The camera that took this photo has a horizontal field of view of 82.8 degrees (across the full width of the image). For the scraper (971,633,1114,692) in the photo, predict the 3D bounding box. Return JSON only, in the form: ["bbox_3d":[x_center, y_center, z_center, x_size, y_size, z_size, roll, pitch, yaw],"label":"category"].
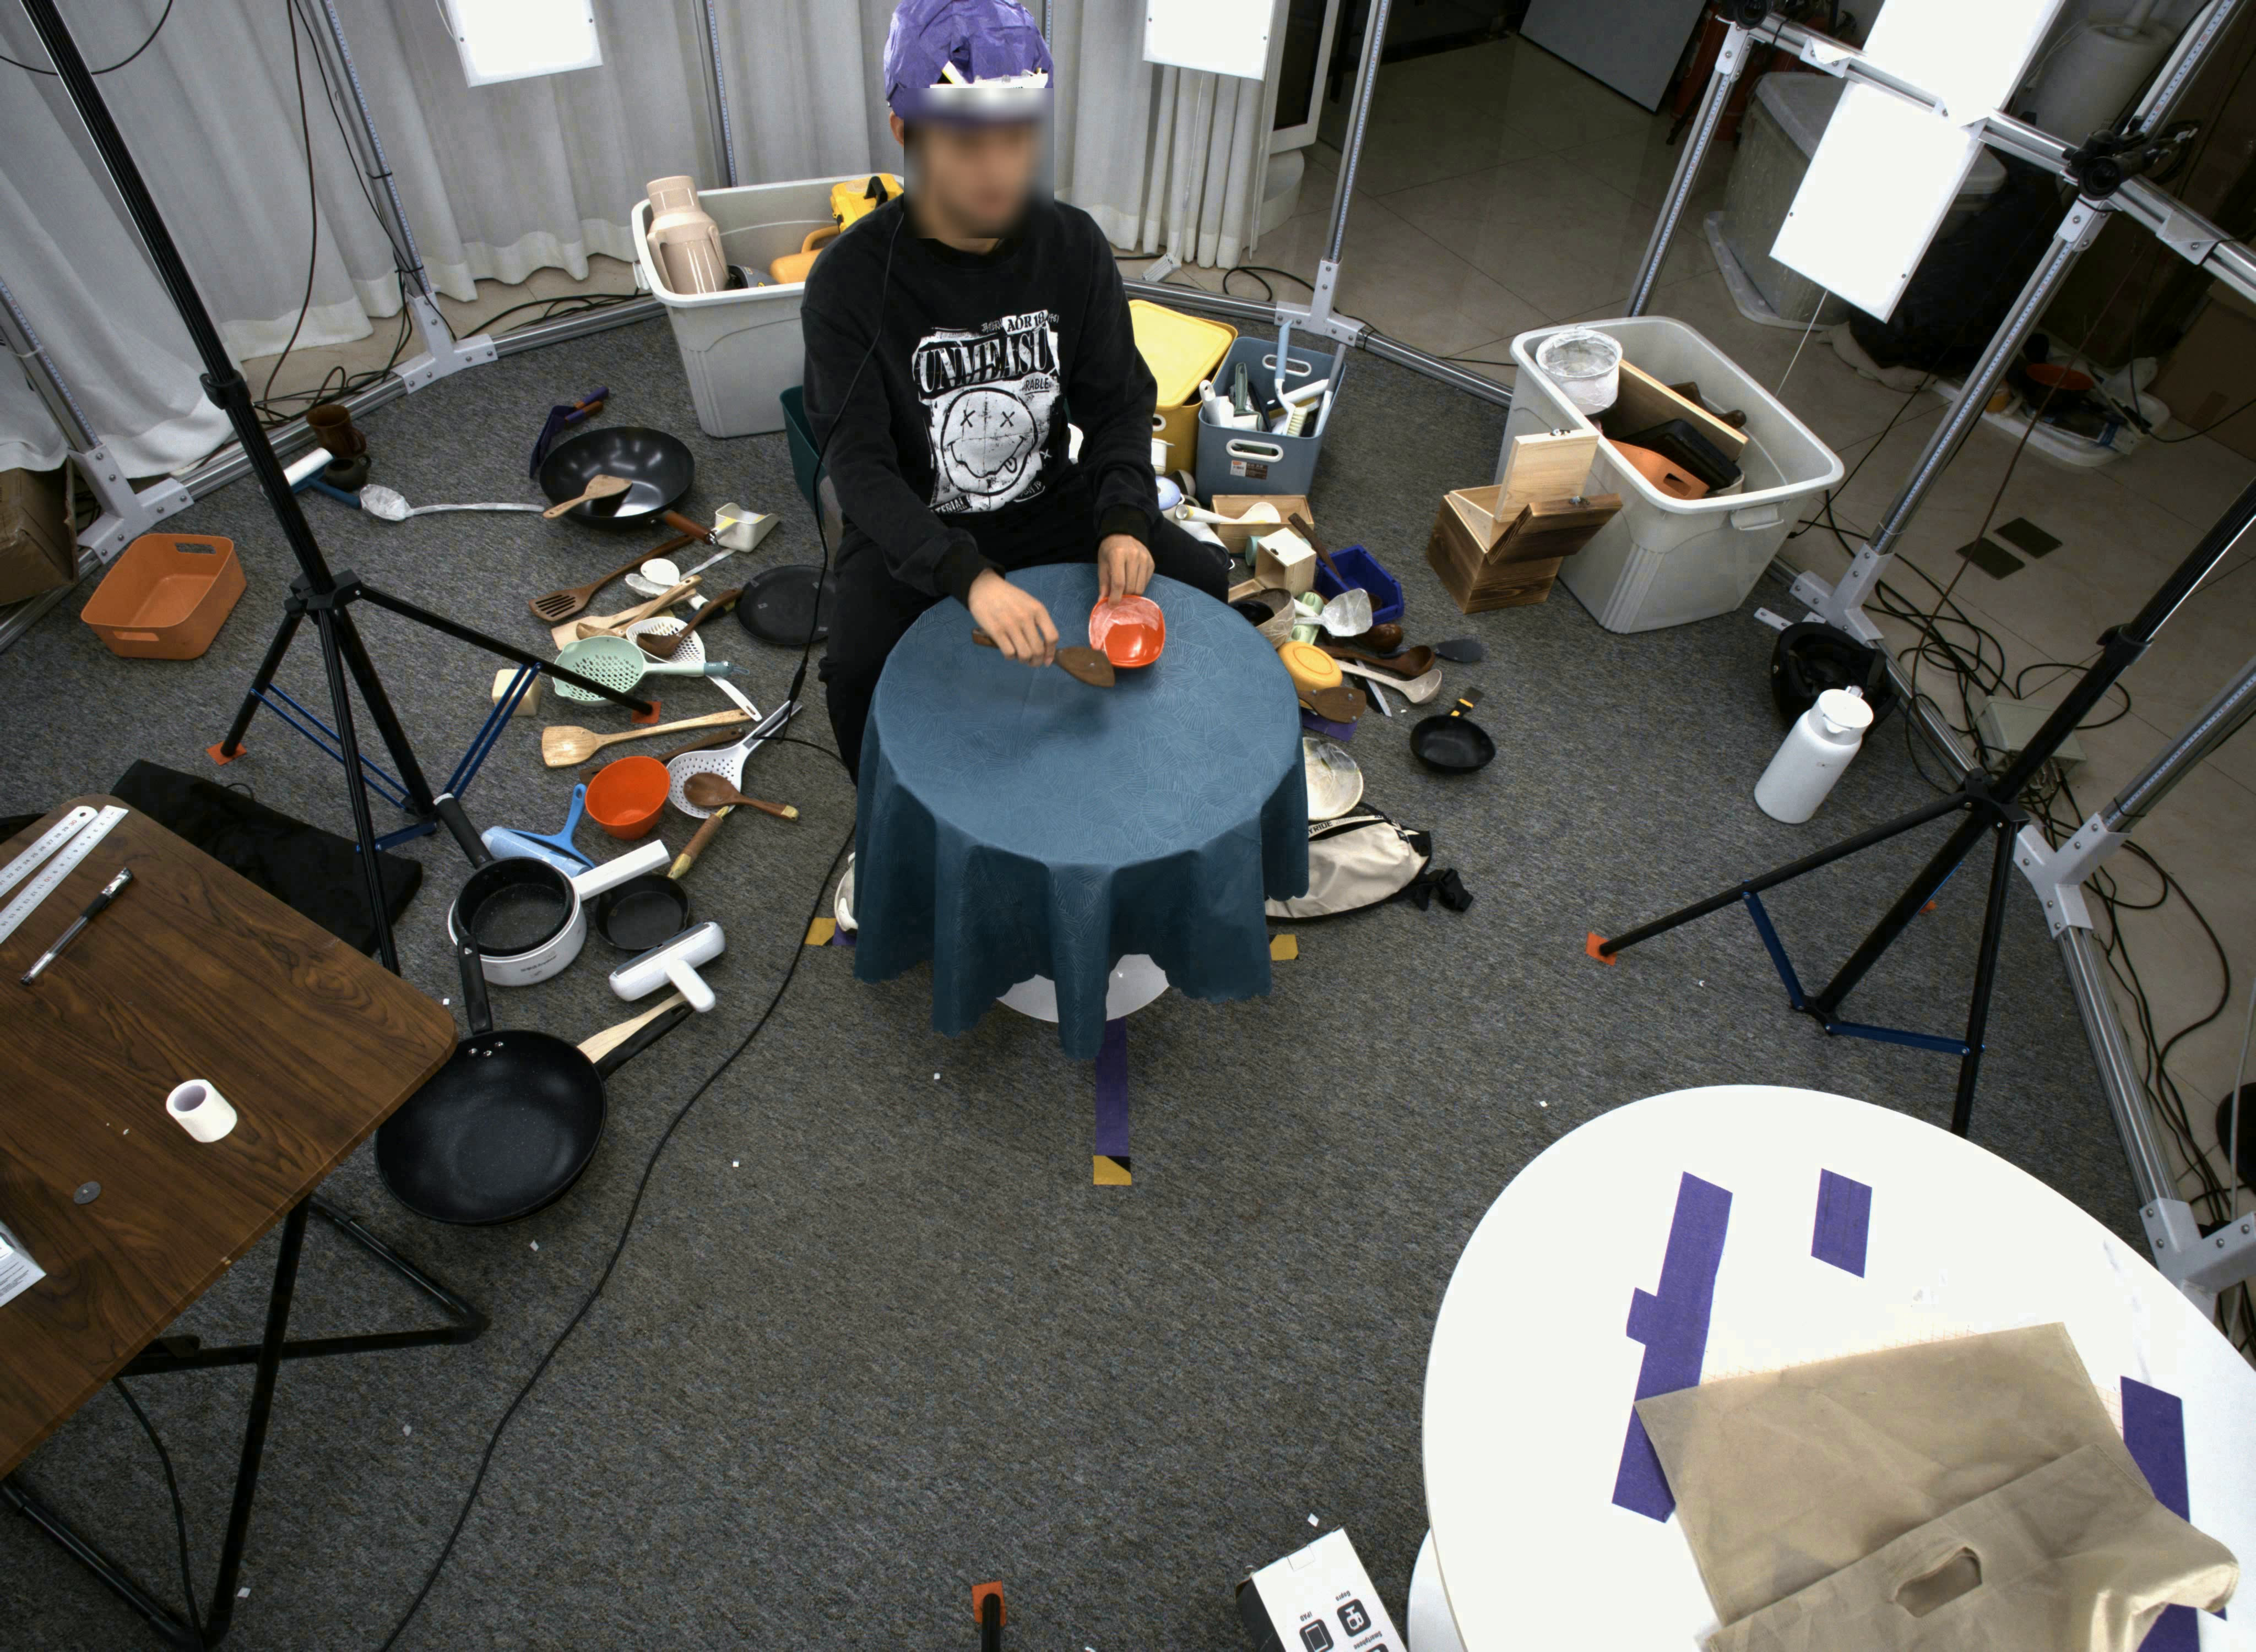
[{"bbox_3d":[-0.116,-0.230,1.756,0.209,0.010,0.078,12,43,-25],"label":"scraper"}]

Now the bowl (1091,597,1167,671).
[{"bbox_3d":[-0.001,-0.273,1.875,0.119,0.051,0.120,1,75,-6],"label":"bowl"}]
